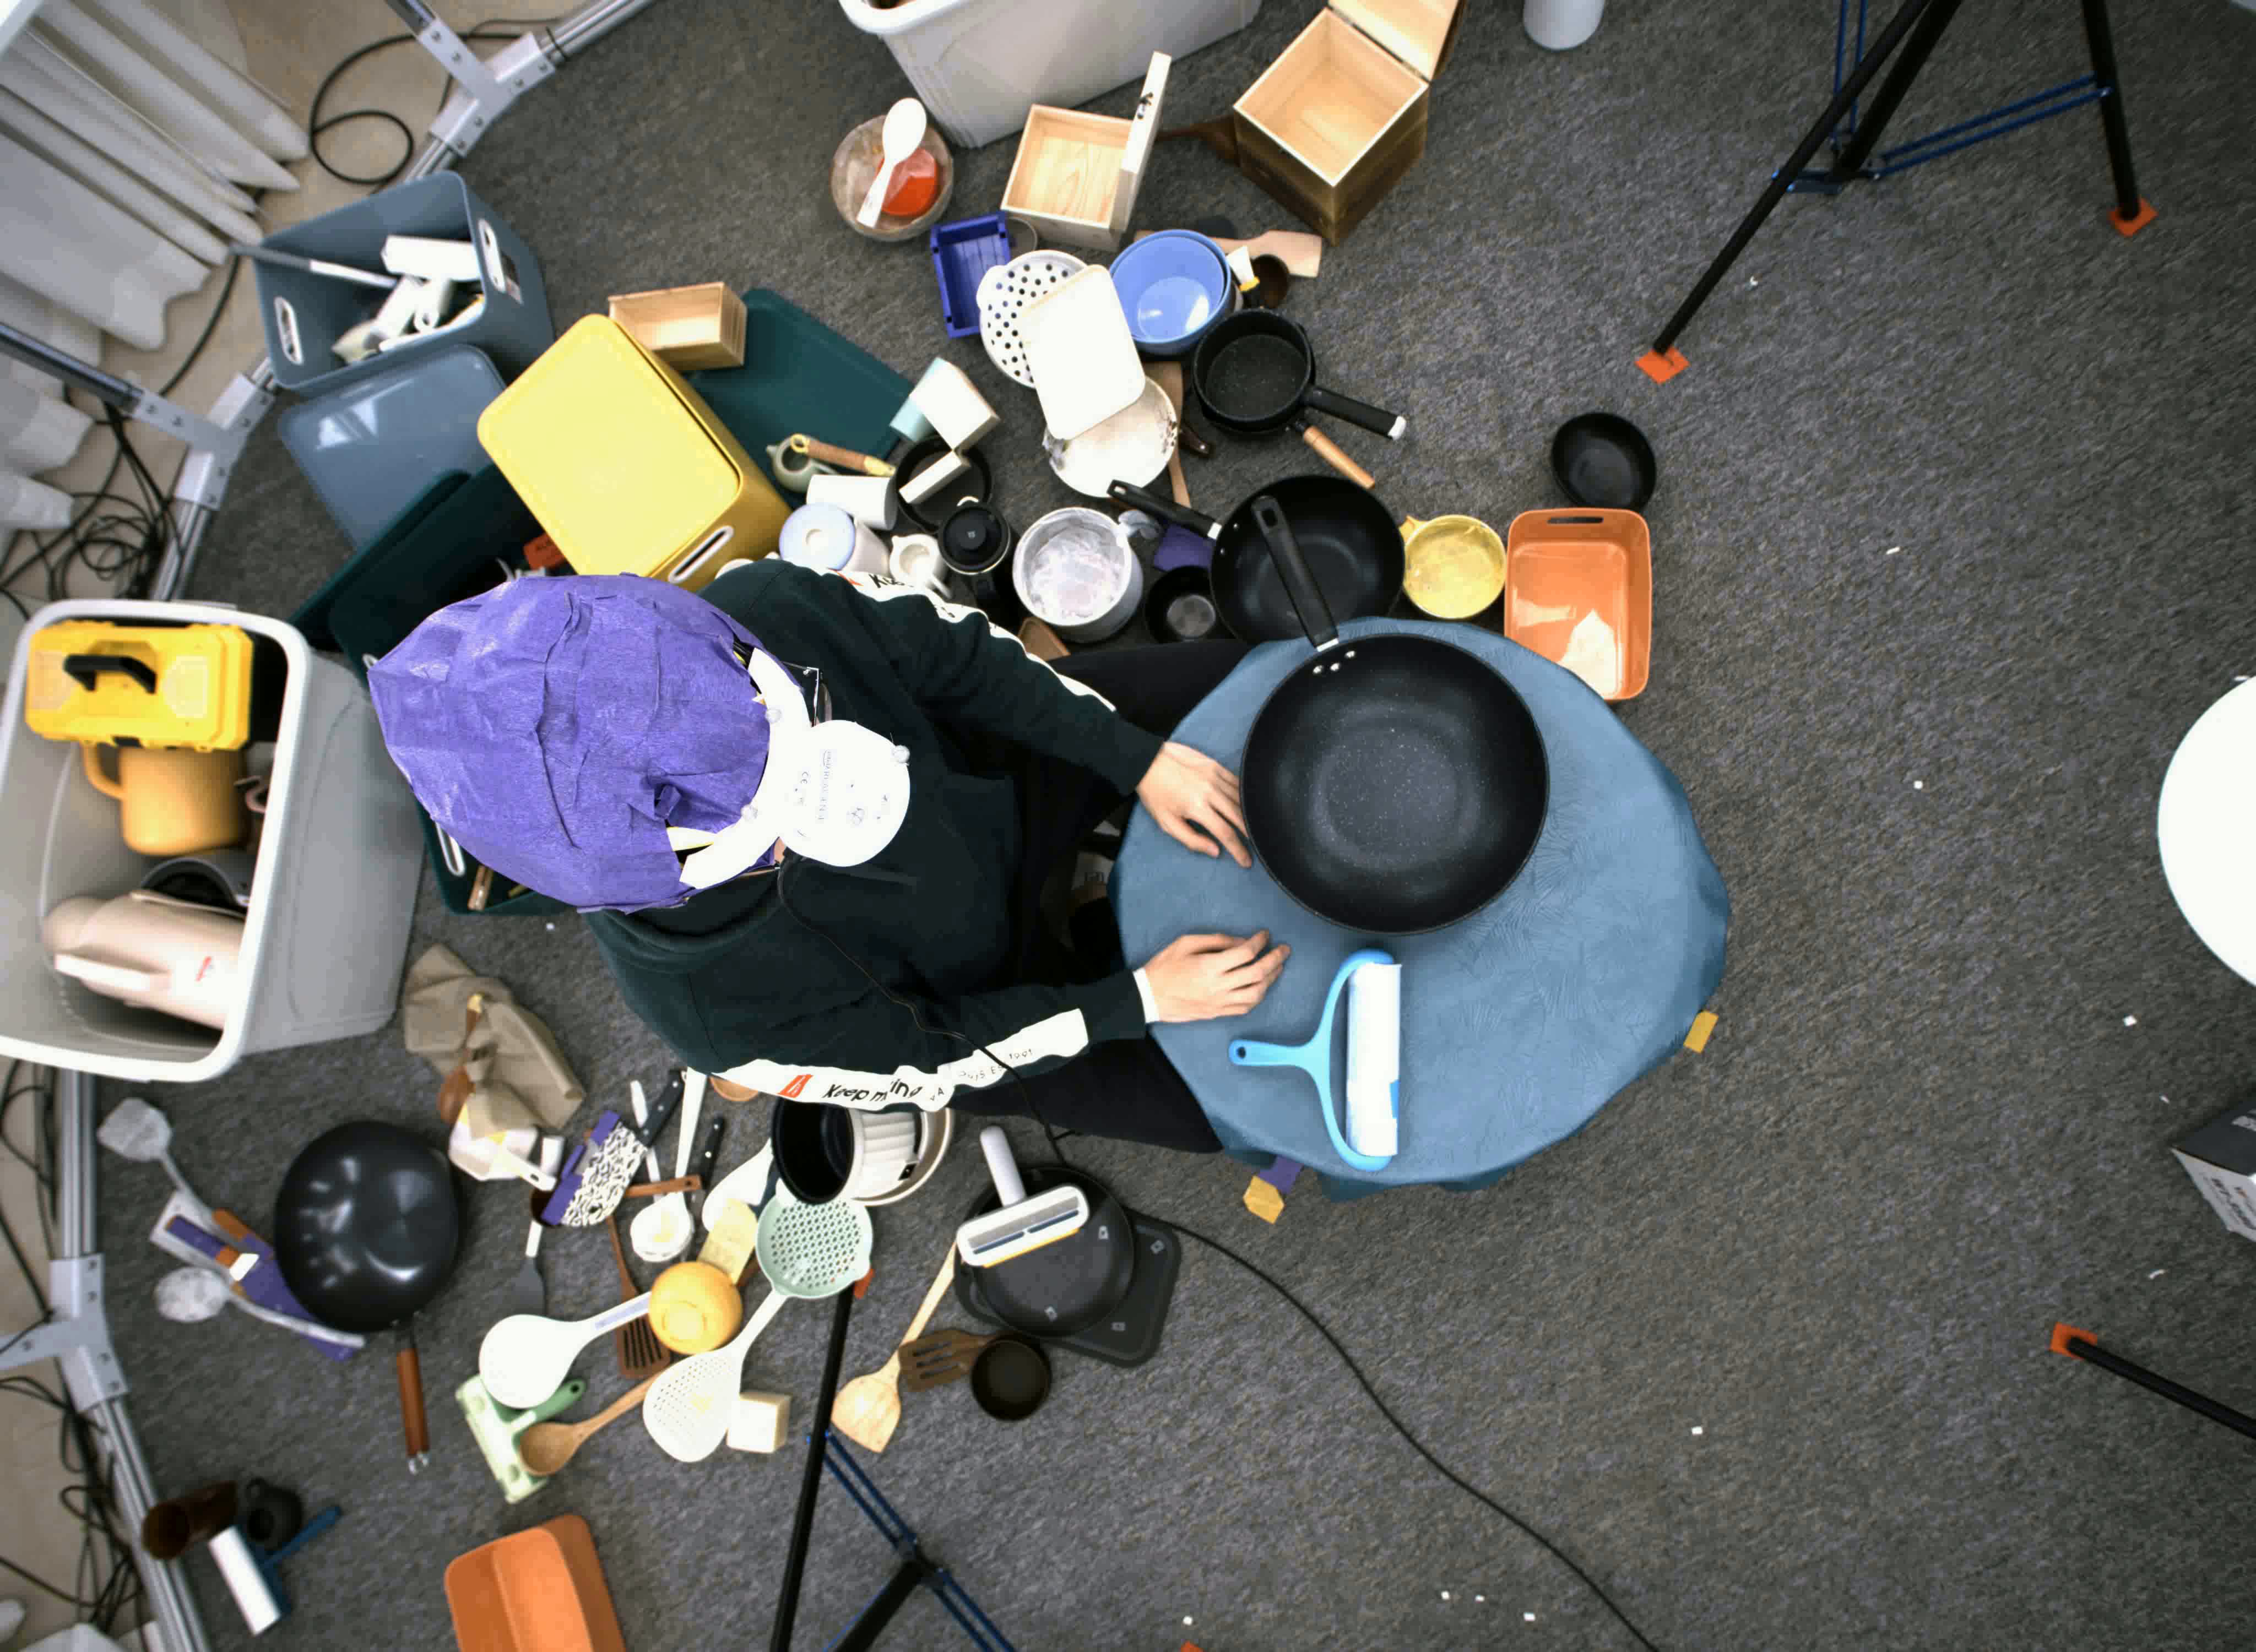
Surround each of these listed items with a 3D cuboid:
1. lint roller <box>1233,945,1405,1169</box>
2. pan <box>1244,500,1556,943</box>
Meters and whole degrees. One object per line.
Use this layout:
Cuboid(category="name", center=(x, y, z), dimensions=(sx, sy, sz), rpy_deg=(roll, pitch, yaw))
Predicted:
Cuboid(category="lint roller", center=(0.197, 0.239, 1.432), dimensions=(0.181, 0.068, 0.228), rpy_deg=(-3, 89, 9))
Cuboid(category="pan", center=(0.241, -0.111, 1.416), dimensions=(0.312, 0.112, 0.474), rpy_deg=(-25, 83, 6))
